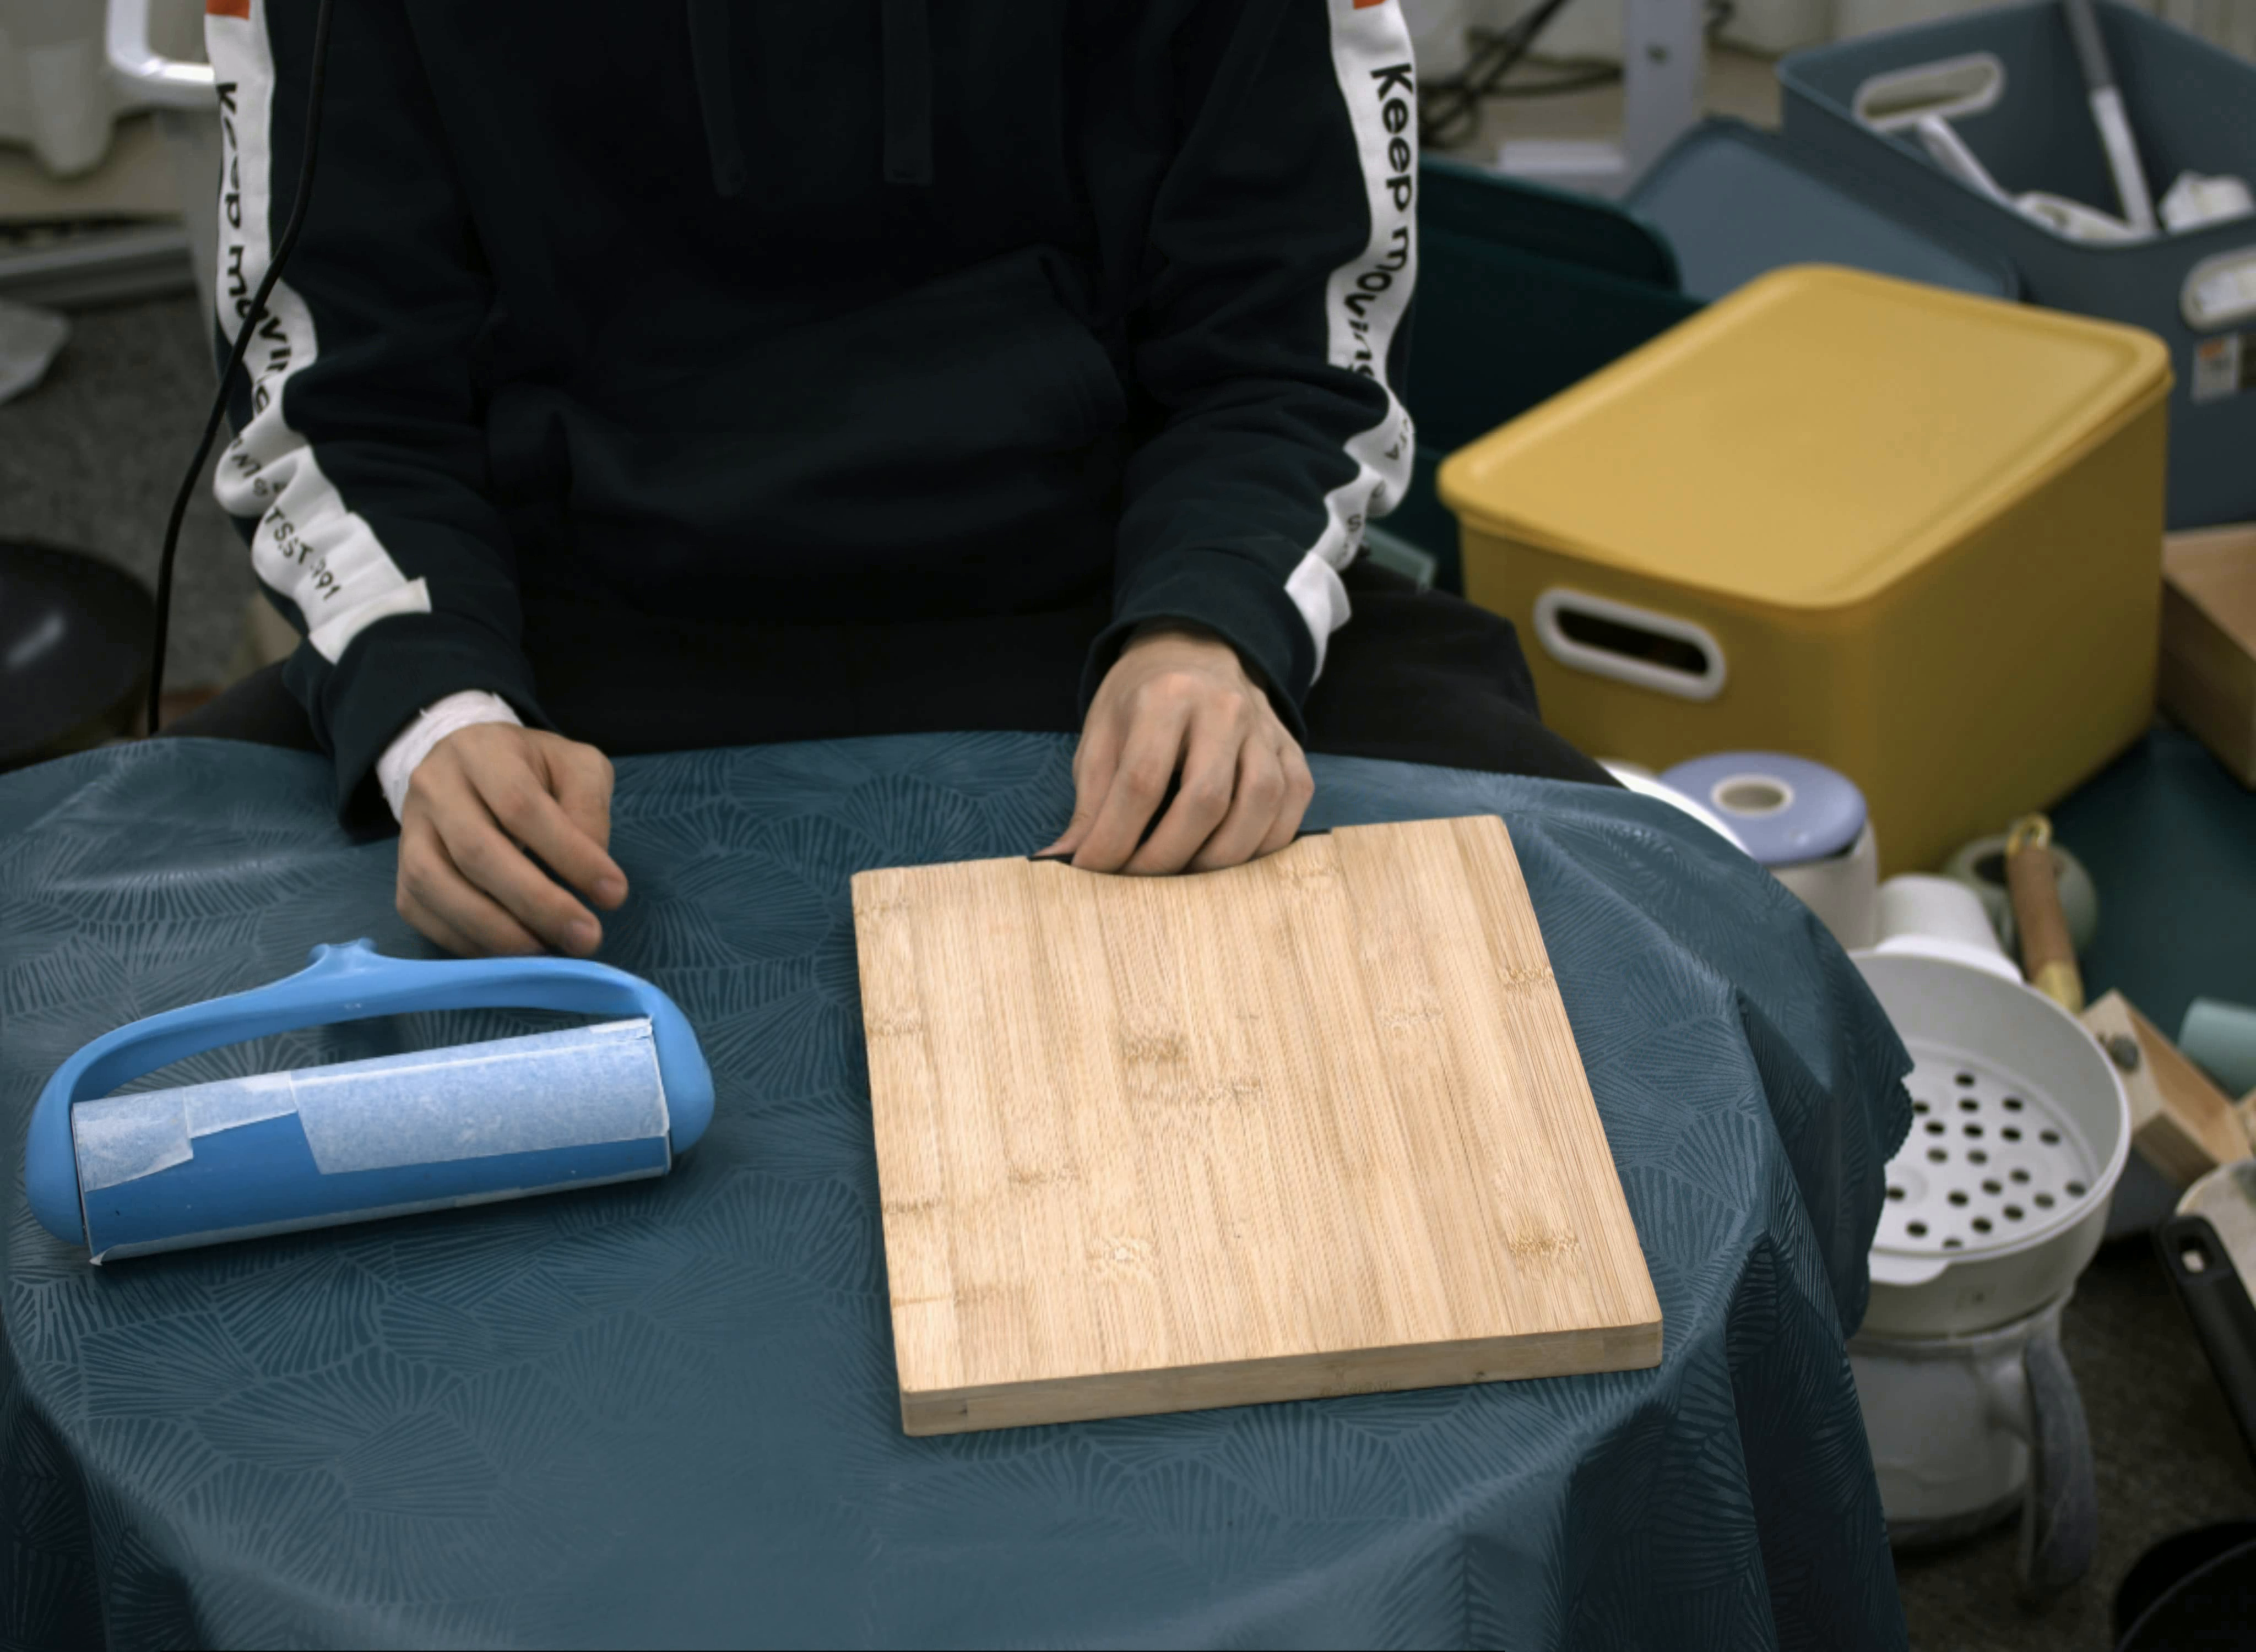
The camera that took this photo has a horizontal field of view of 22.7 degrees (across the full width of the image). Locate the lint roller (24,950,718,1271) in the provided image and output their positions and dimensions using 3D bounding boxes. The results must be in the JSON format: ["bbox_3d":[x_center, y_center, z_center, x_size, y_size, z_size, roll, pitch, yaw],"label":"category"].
[{"bbox_3d":[-0.264,0.078,1.909,0.229,0.067,0.182,-11,29,-12],"label":"lint roller"}]

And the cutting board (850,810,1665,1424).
[{"bbox_3d":[0.033,0.092,1.896,0.250,0.023,0.353,-5,28,-4],"label":"cutting board"}]
